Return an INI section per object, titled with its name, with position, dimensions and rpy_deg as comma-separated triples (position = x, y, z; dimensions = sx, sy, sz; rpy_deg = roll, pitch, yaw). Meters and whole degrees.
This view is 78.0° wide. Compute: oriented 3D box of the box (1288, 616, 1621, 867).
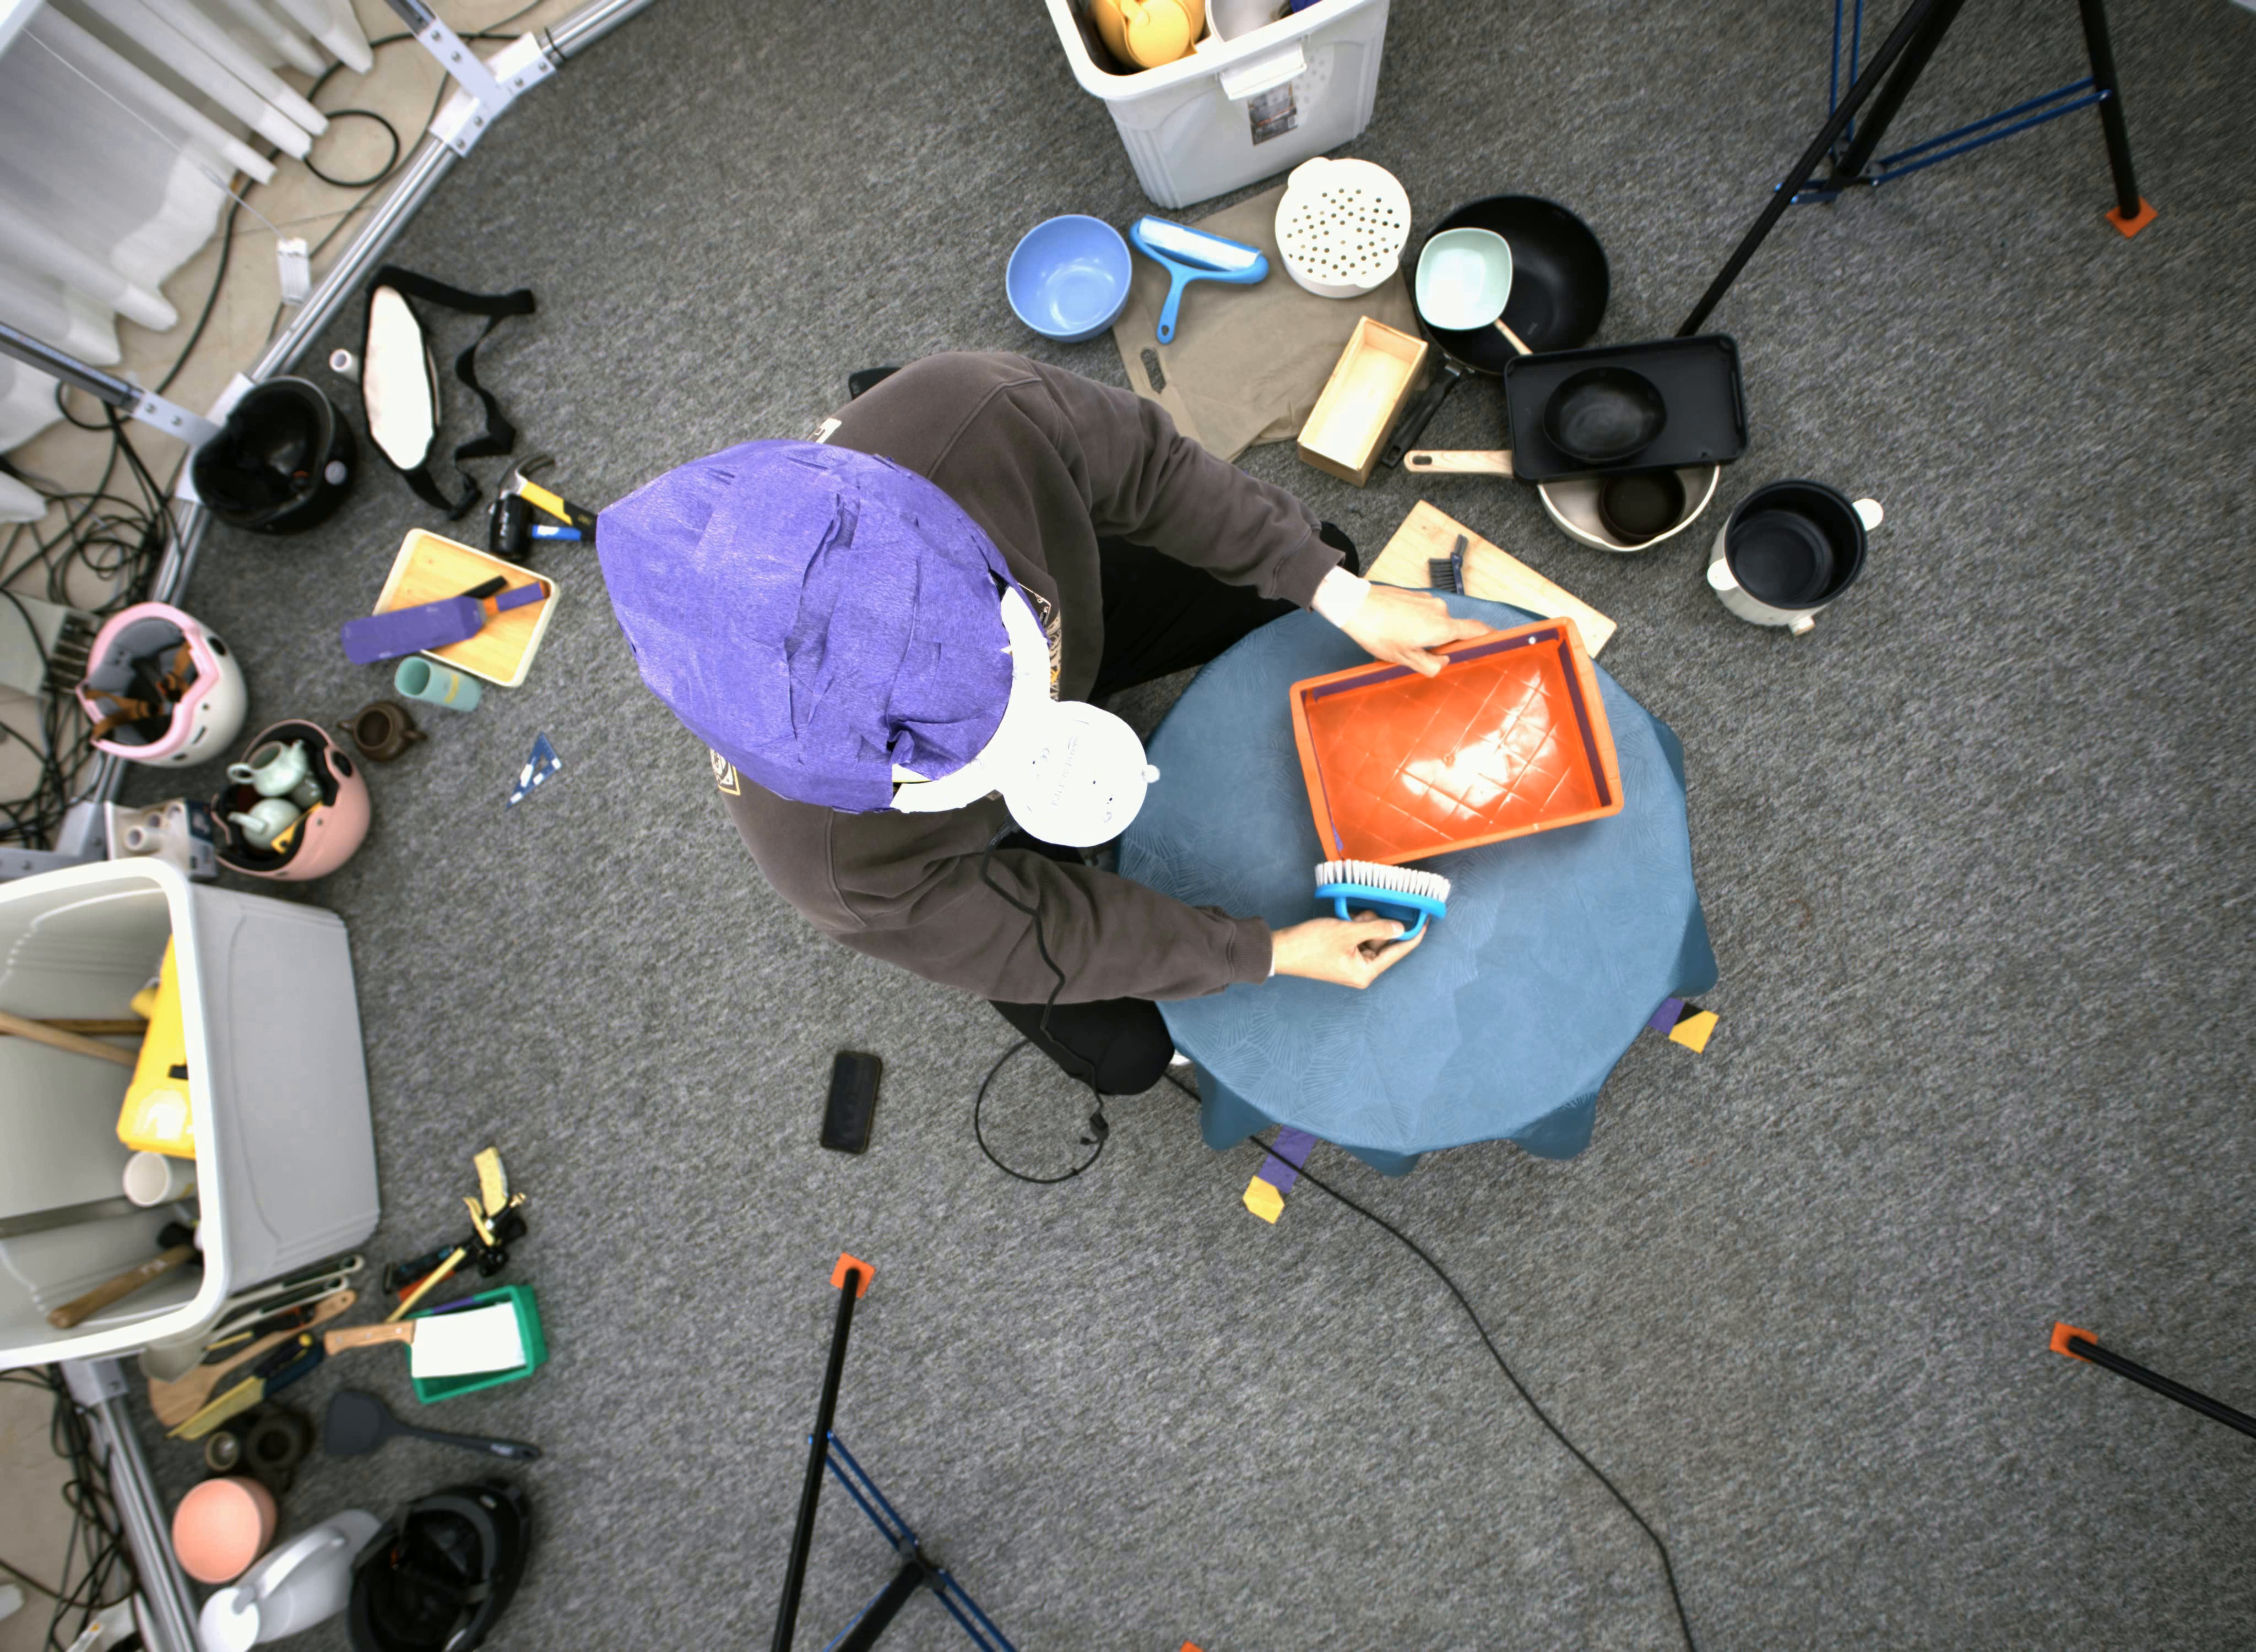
[box]
position = 0.329, -0.077, 1.410
dimensions = 0.305, 0.096, 0.205
rpy_deg = -13, 84, 9

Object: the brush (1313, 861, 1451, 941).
[brush]
position = 0.252, 0.079, 1.389
dimensions = 0.142, 0.085, 0.063
rpy_deg = 12, 77, -10
